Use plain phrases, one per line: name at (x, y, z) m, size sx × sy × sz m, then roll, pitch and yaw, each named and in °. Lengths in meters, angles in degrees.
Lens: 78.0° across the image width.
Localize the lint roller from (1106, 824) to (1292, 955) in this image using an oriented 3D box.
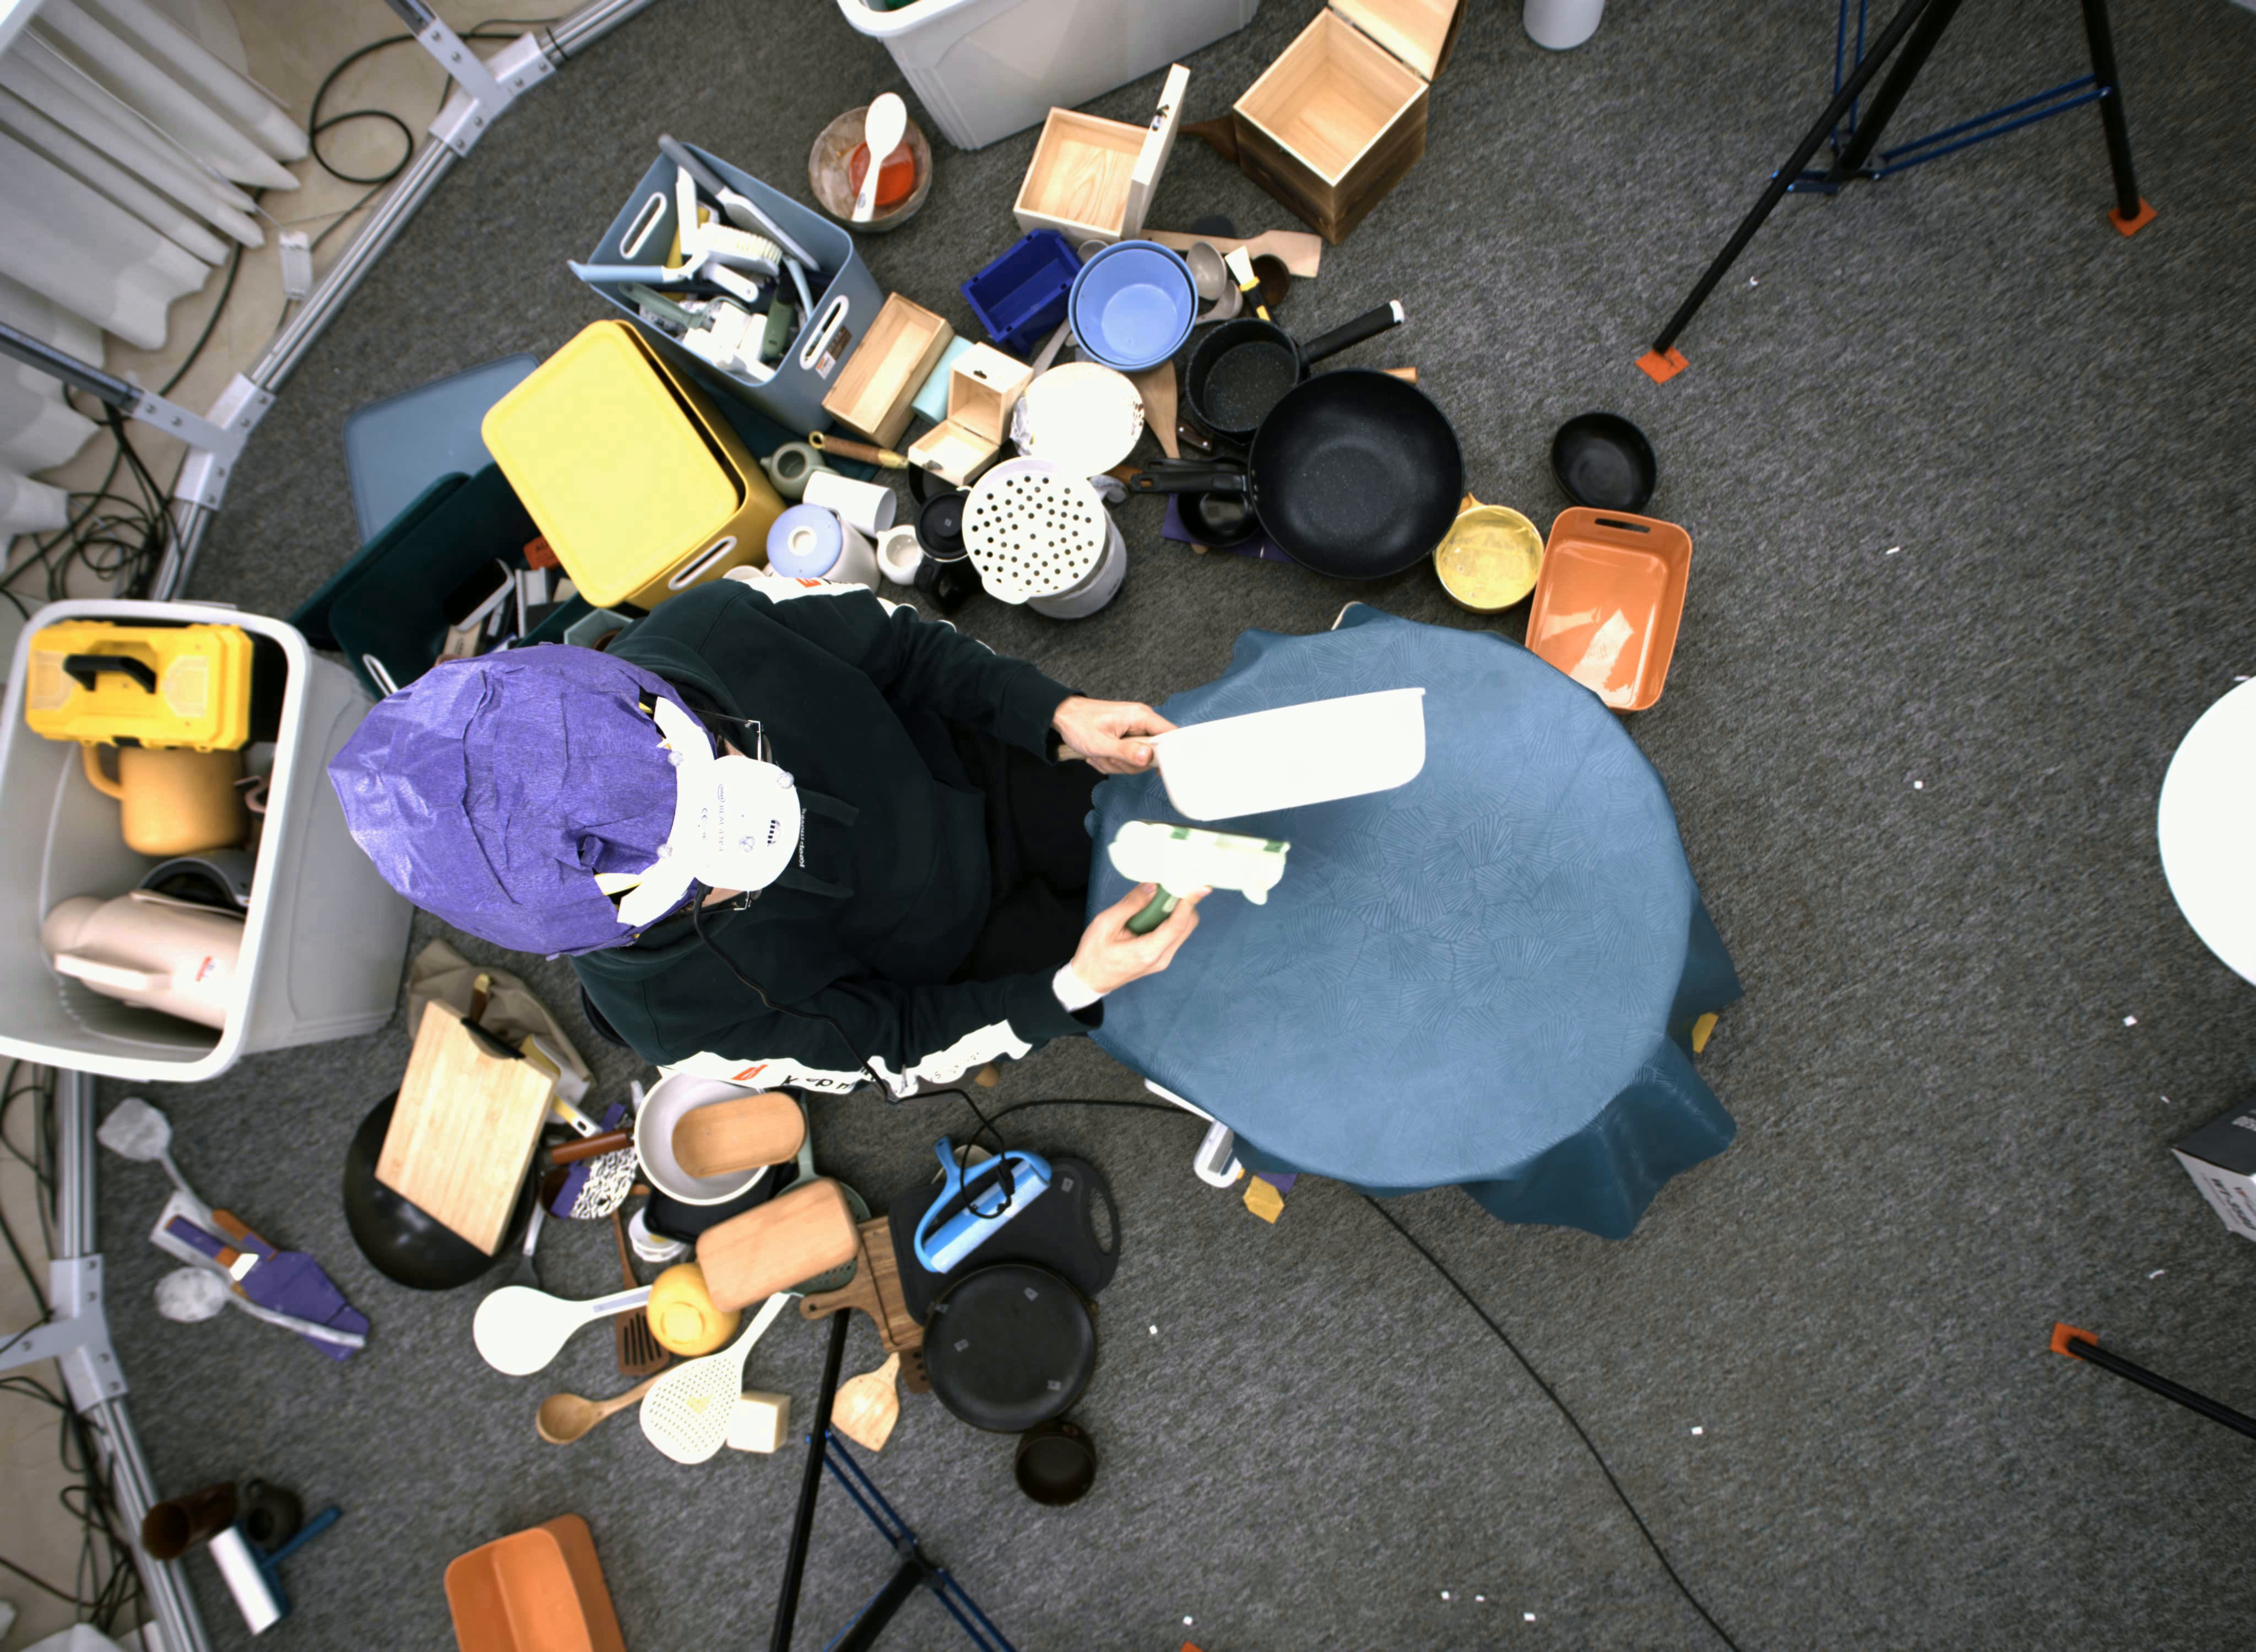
lint roller at (0.048, 0.075, 1.306) m, size 0.081 × 0.197 × 0.187 m, roll 52°, pitch 120°, yaw 31°

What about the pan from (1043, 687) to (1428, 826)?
pan at (0.083, -0.058, 1.306) m, size 0.440 × 0.260 × 0.102 m, roll -8°, pitch 95°, yaw 45°
